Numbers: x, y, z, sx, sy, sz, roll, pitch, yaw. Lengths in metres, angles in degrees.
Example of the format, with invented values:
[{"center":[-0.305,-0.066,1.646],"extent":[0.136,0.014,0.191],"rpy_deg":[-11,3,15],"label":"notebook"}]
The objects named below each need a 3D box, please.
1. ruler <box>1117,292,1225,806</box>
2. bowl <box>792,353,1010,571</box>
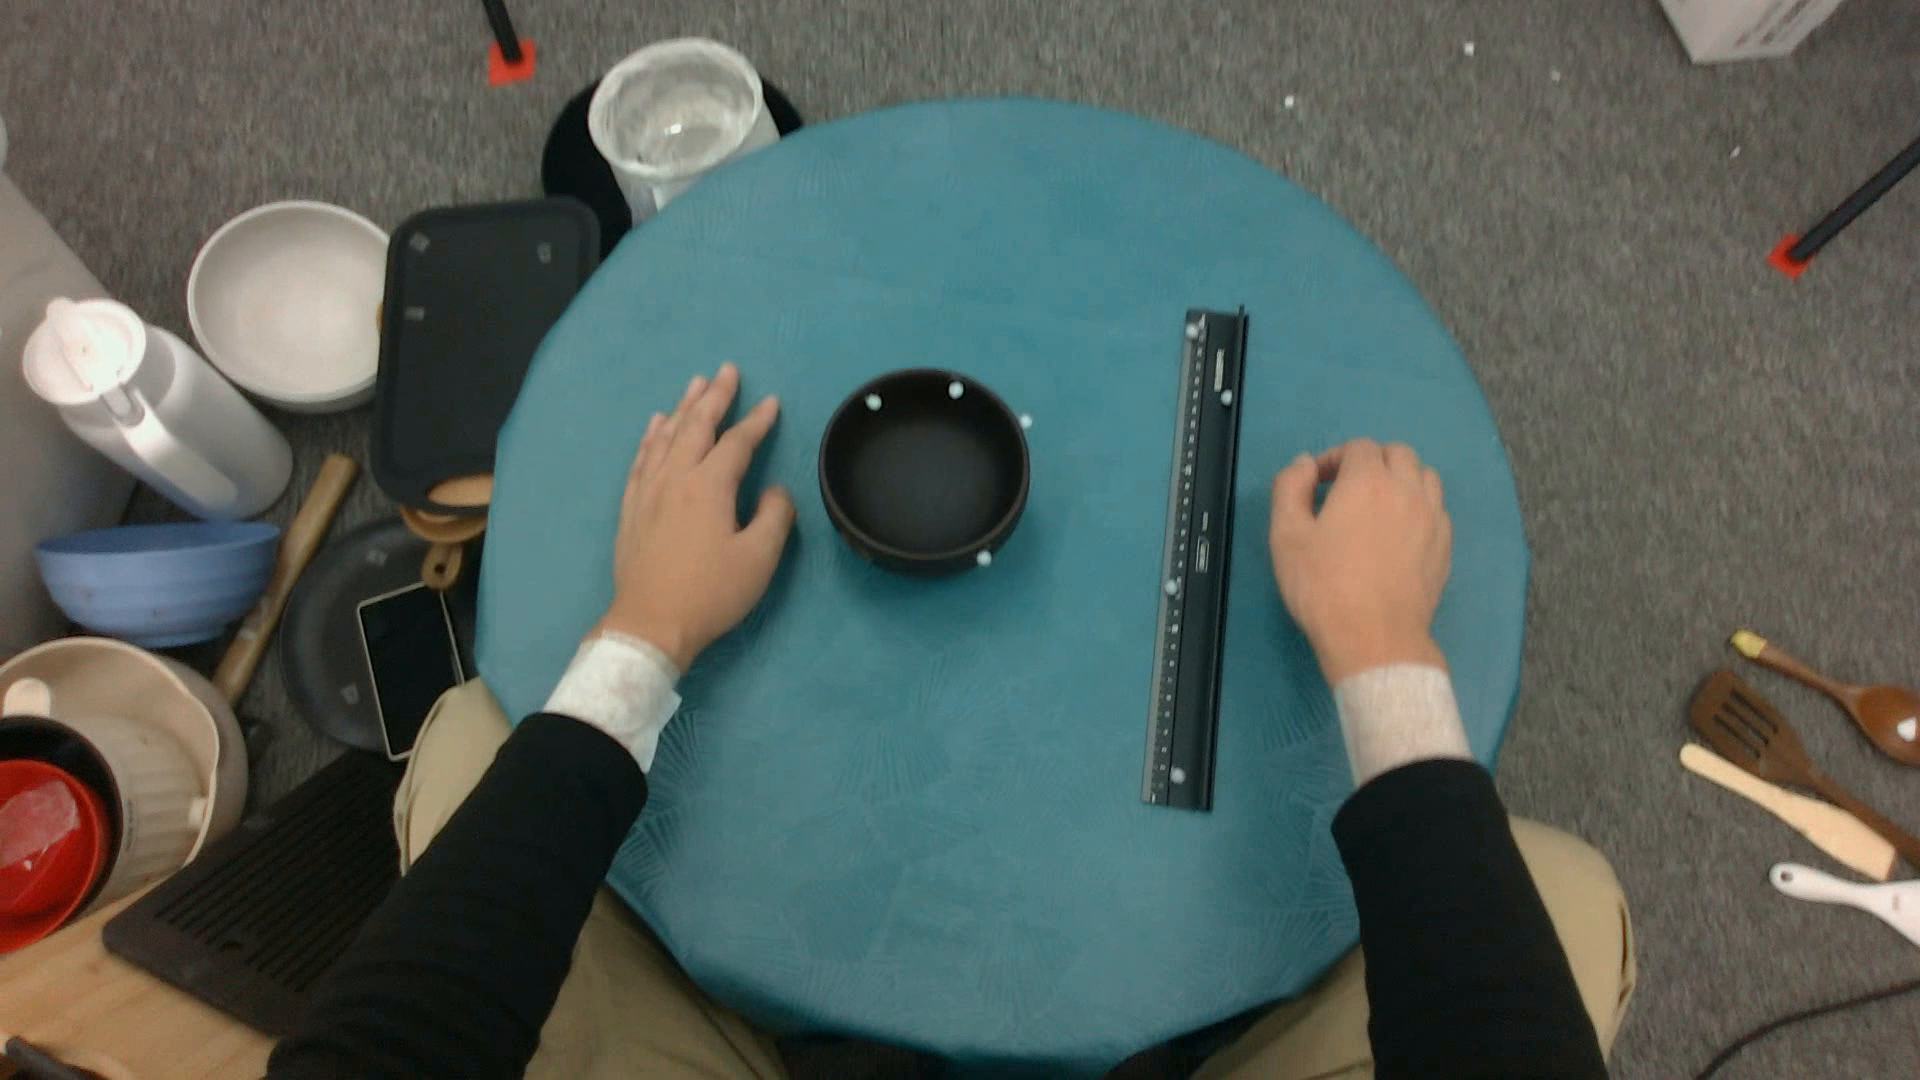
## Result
[{"center":[0.124,-0.006,0.790],"extent":[0.039,0.017,0.313],"rpy_deg":[7,70,4],"label":"ruler"},{"center":[-0.033,-0.037,0.762],"extent":[0.118,0.069,0.118],"rpy_deg":[1,69,-2],"label":"bowl"}]
